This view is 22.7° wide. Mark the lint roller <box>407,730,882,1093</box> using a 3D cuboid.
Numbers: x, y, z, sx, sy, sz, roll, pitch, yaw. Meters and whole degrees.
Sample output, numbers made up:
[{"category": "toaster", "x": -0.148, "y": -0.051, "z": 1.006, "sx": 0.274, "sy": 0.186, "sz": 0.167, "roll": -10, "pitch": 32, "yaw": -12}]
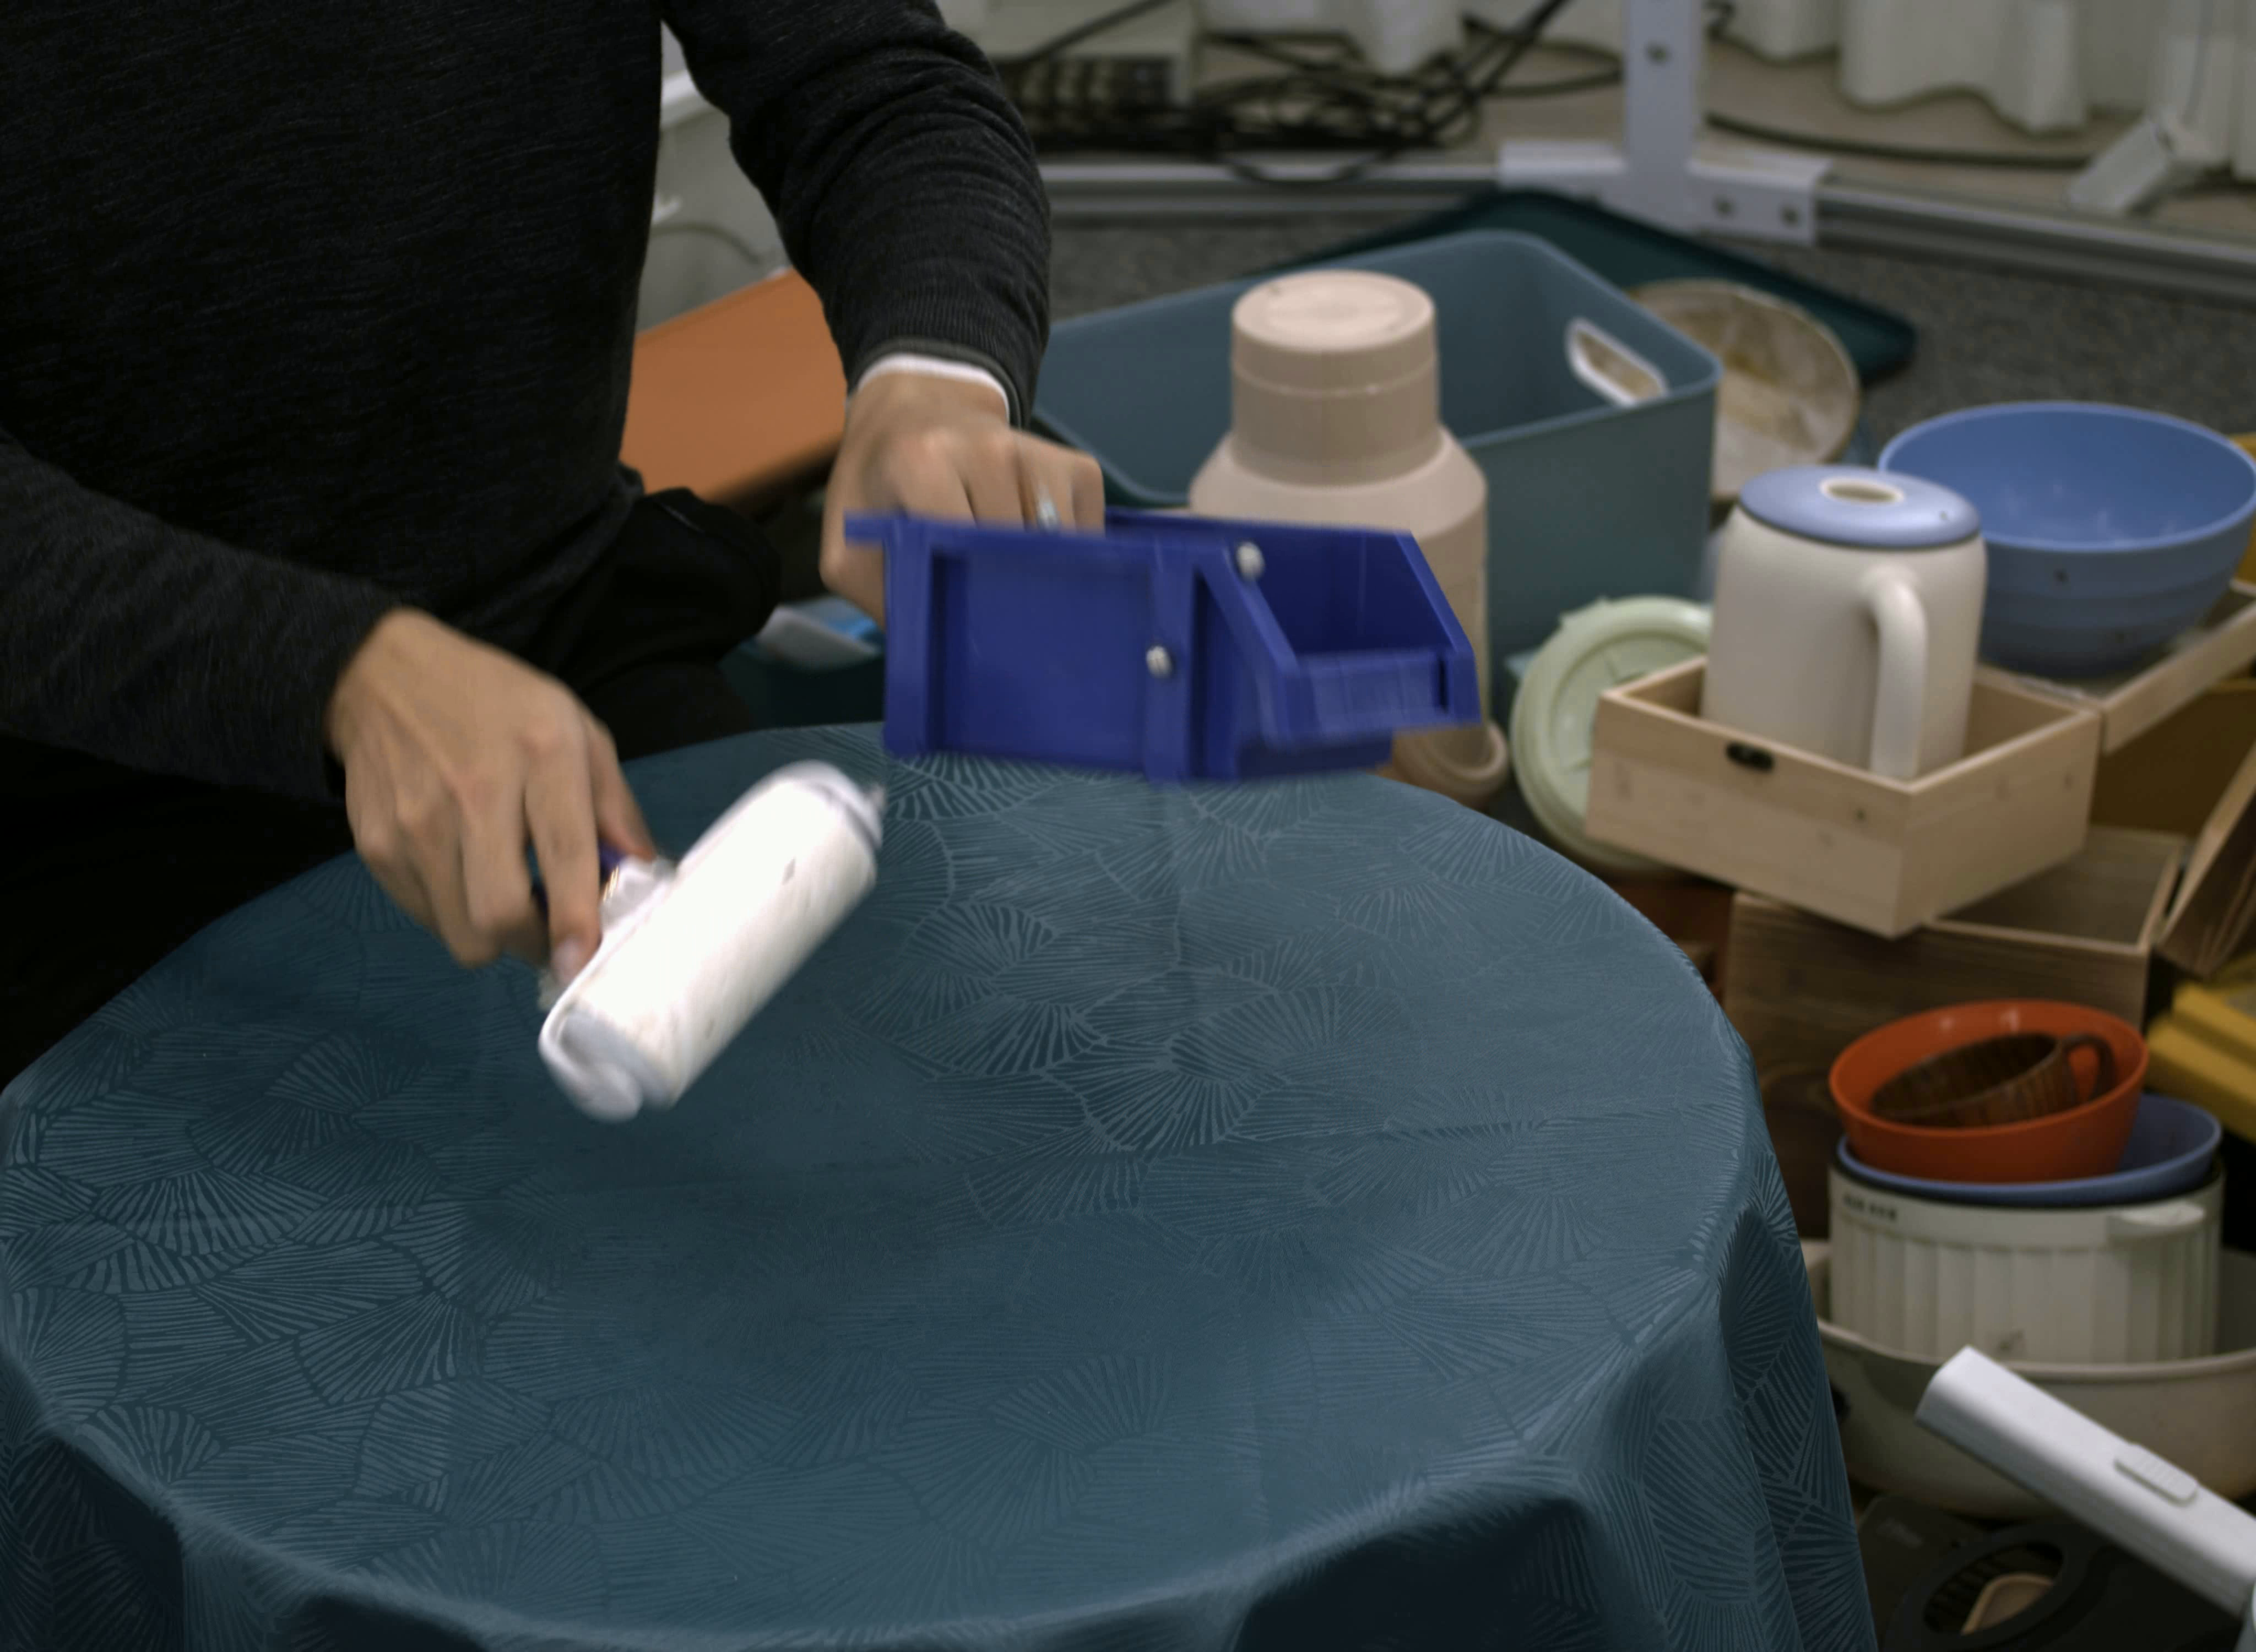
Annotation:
[{"category": "lint roller", "x": -0.173, "y": 0.005, "z": 1.803, "sx": 0.180, "sy": 0.049, "sz": 0.134, "roll": 25, "pitch": 65, "yaw": 36}]

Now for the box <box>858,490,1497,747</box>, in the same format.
[{"category": "box", "x": 0.017, "y": -0.069, "z": 1.868, "sx": 0.178, "sy": 0.082, "sz": 0.125, "roll": 2, "pitch": 2, "yaw": 36}]
